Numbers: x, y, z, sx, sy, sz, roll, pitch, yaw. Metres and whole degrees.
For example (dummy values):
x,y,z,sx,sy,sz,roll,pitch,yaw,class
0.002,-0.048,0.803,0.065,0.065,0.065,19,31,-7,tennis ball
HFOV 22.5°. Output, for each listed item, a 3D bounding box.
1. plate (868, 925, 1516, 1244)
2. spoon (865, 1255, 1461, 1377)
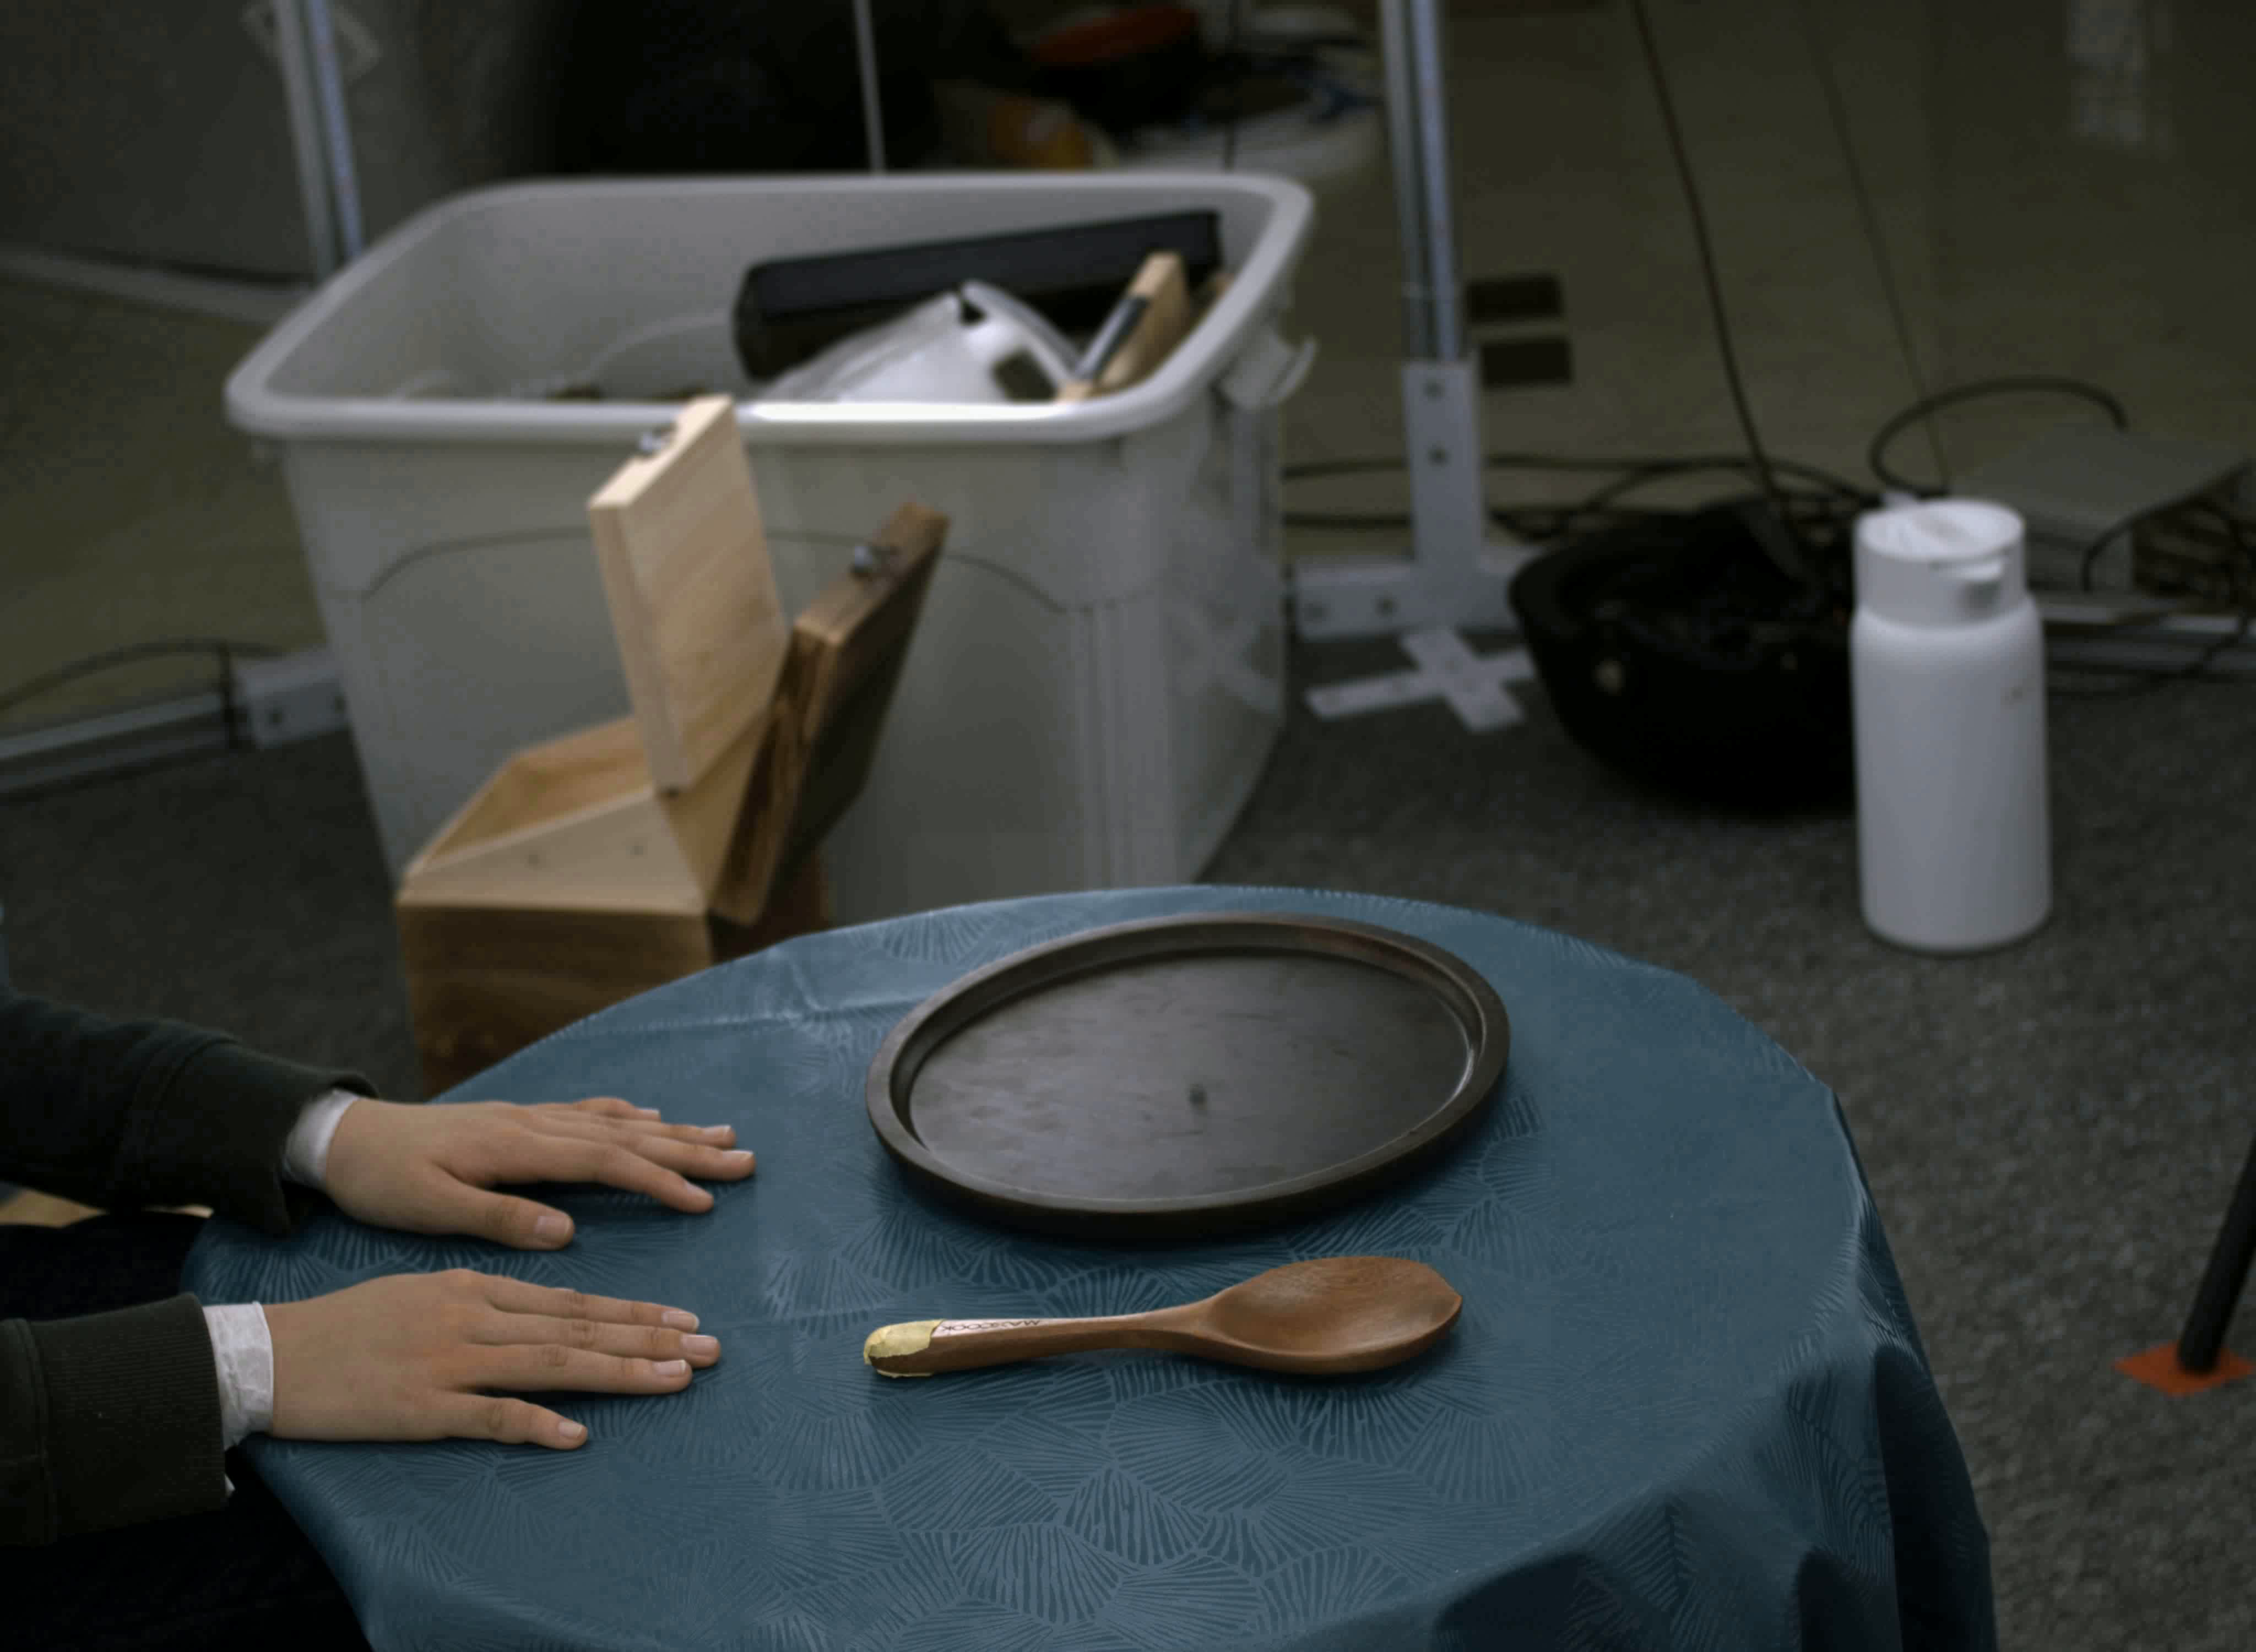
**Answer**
x,y,z,sx,sy,sz,roll,pitch,yaw,class
0.024,0.099,2.208,0.254,0.029,0.251,-4,24,2,plate
0.012,0.182,2.038,0.215,0.017,0.074,-4,25,5,spoon
